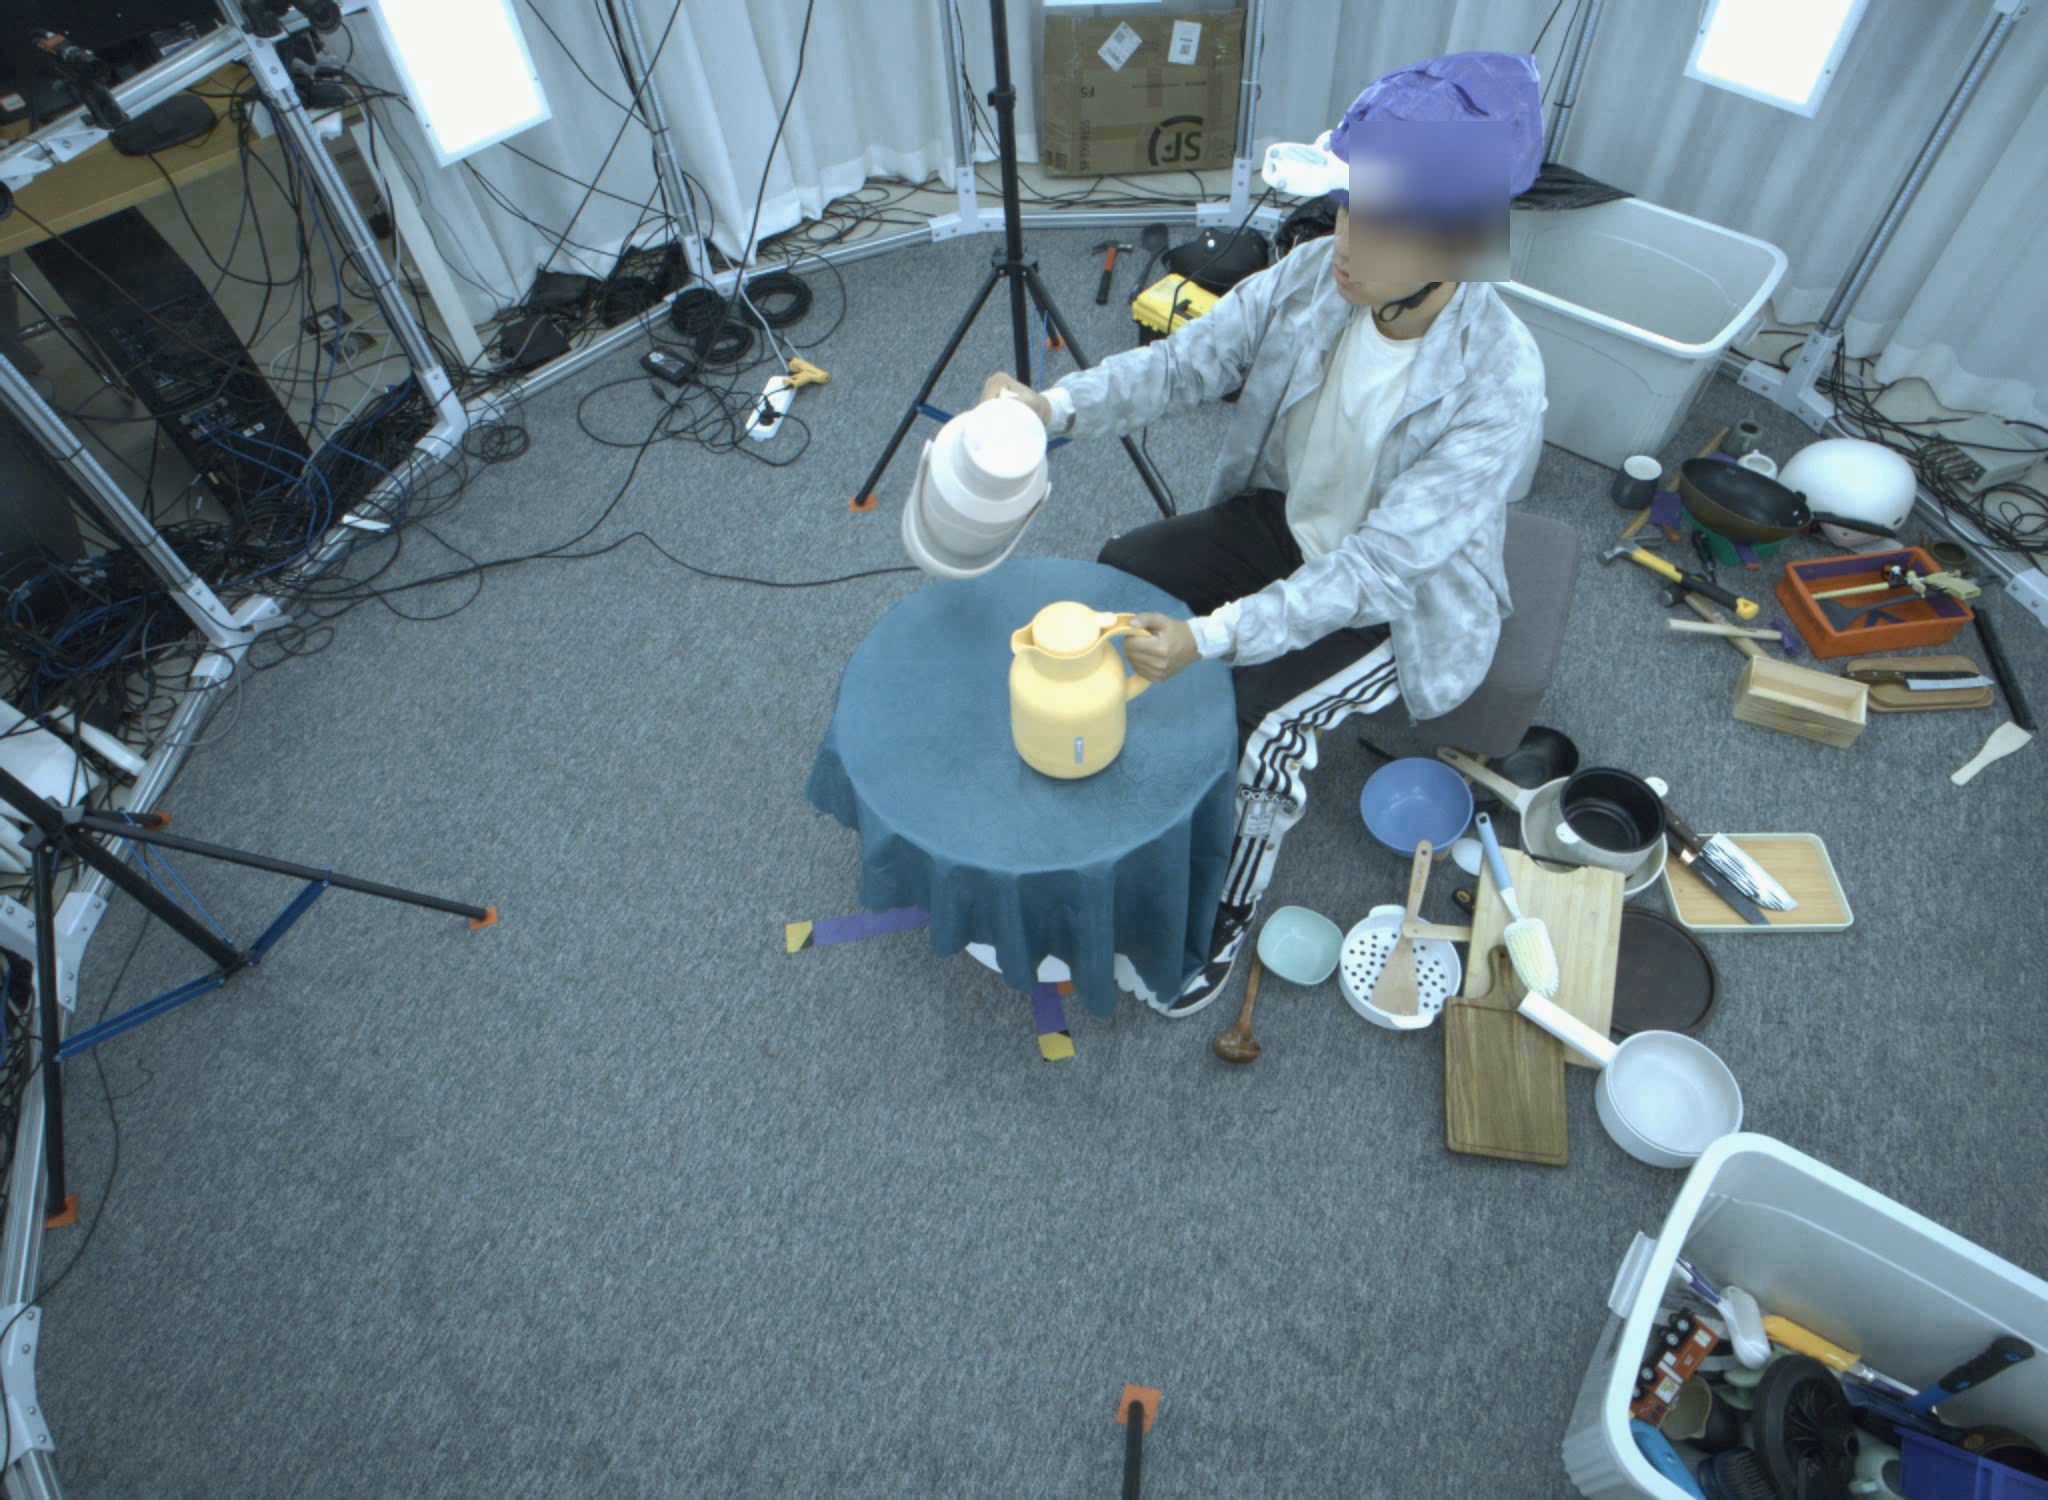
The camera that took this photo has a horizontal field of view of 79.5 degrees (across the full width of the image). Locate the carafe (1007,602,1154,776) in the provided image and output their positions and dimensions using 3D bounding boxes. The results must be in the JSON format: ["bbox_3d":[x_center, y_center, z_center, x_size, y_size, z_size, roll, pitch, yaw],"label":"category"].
[{"bbox_3d":[0.078,-0.092,1.691,0.203,0.263,0.161,-10,57,-3],"label":"carafe"}]

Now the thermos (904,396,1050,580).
[{"bbox_3d":[-0.062,-0.372,1.687,0.177,0.403,0.206,17,80,-9],"label":"thermos"}]
